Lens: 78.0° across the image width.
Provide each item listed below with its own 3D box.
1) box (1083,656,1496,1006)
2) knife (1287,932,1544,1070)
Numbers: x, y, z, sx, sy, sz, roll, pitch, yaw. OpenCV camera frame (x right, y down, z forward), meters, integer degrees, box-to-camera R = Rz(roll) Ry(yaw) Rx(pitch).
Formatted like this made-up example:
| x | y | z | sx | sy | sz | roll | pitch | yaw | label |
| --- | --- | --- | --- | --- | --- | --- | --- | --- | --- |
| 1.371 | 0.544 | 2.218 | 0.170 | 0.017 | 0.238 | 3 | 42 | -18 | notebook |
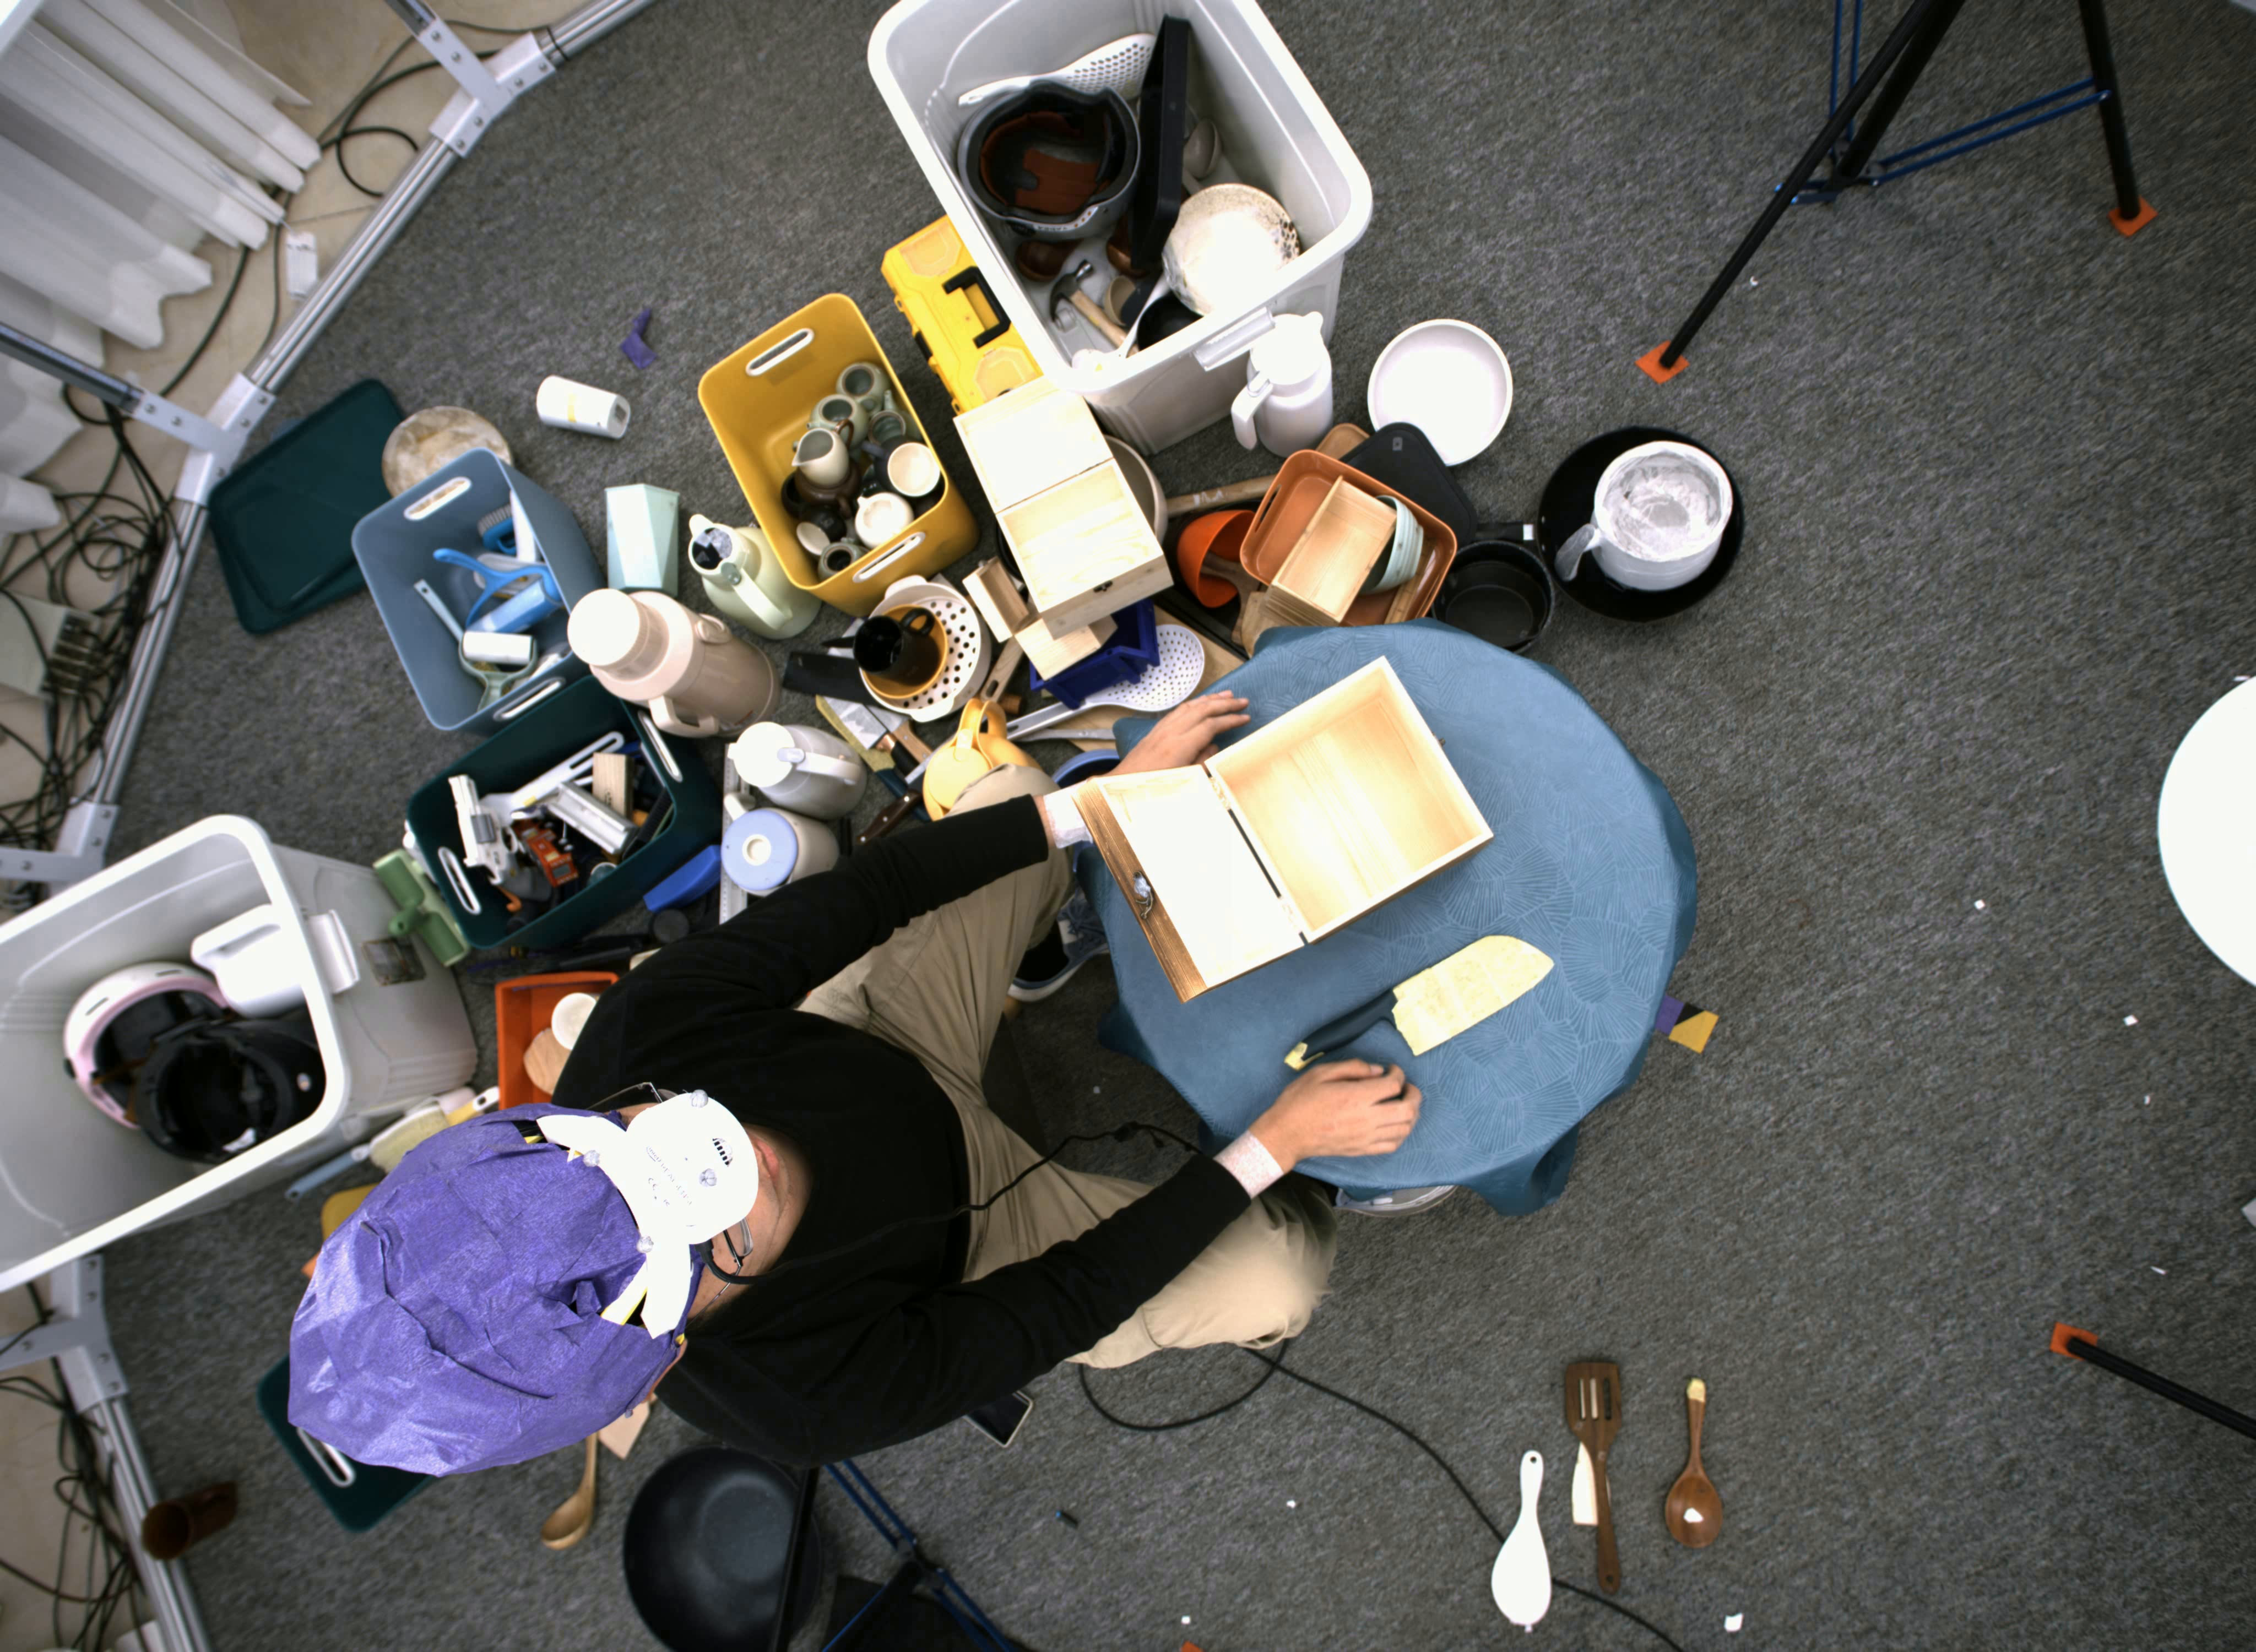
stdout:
| x | y | z | sx | sy | sz | roll | pitch | yaw | label |
| --- | --- | --- | --- | --- | --- | --- | --- | --- | --- |
| 0.162 | 0.000 | 1.302 | 0.324 | 0.375 | 0.207 | -31 | 81 | 7 | box |
| 0.301 | 0.191 | 1.441 | 0.291 | 0.027 | 0.080 | -27 | 80 | 7 | knife |
